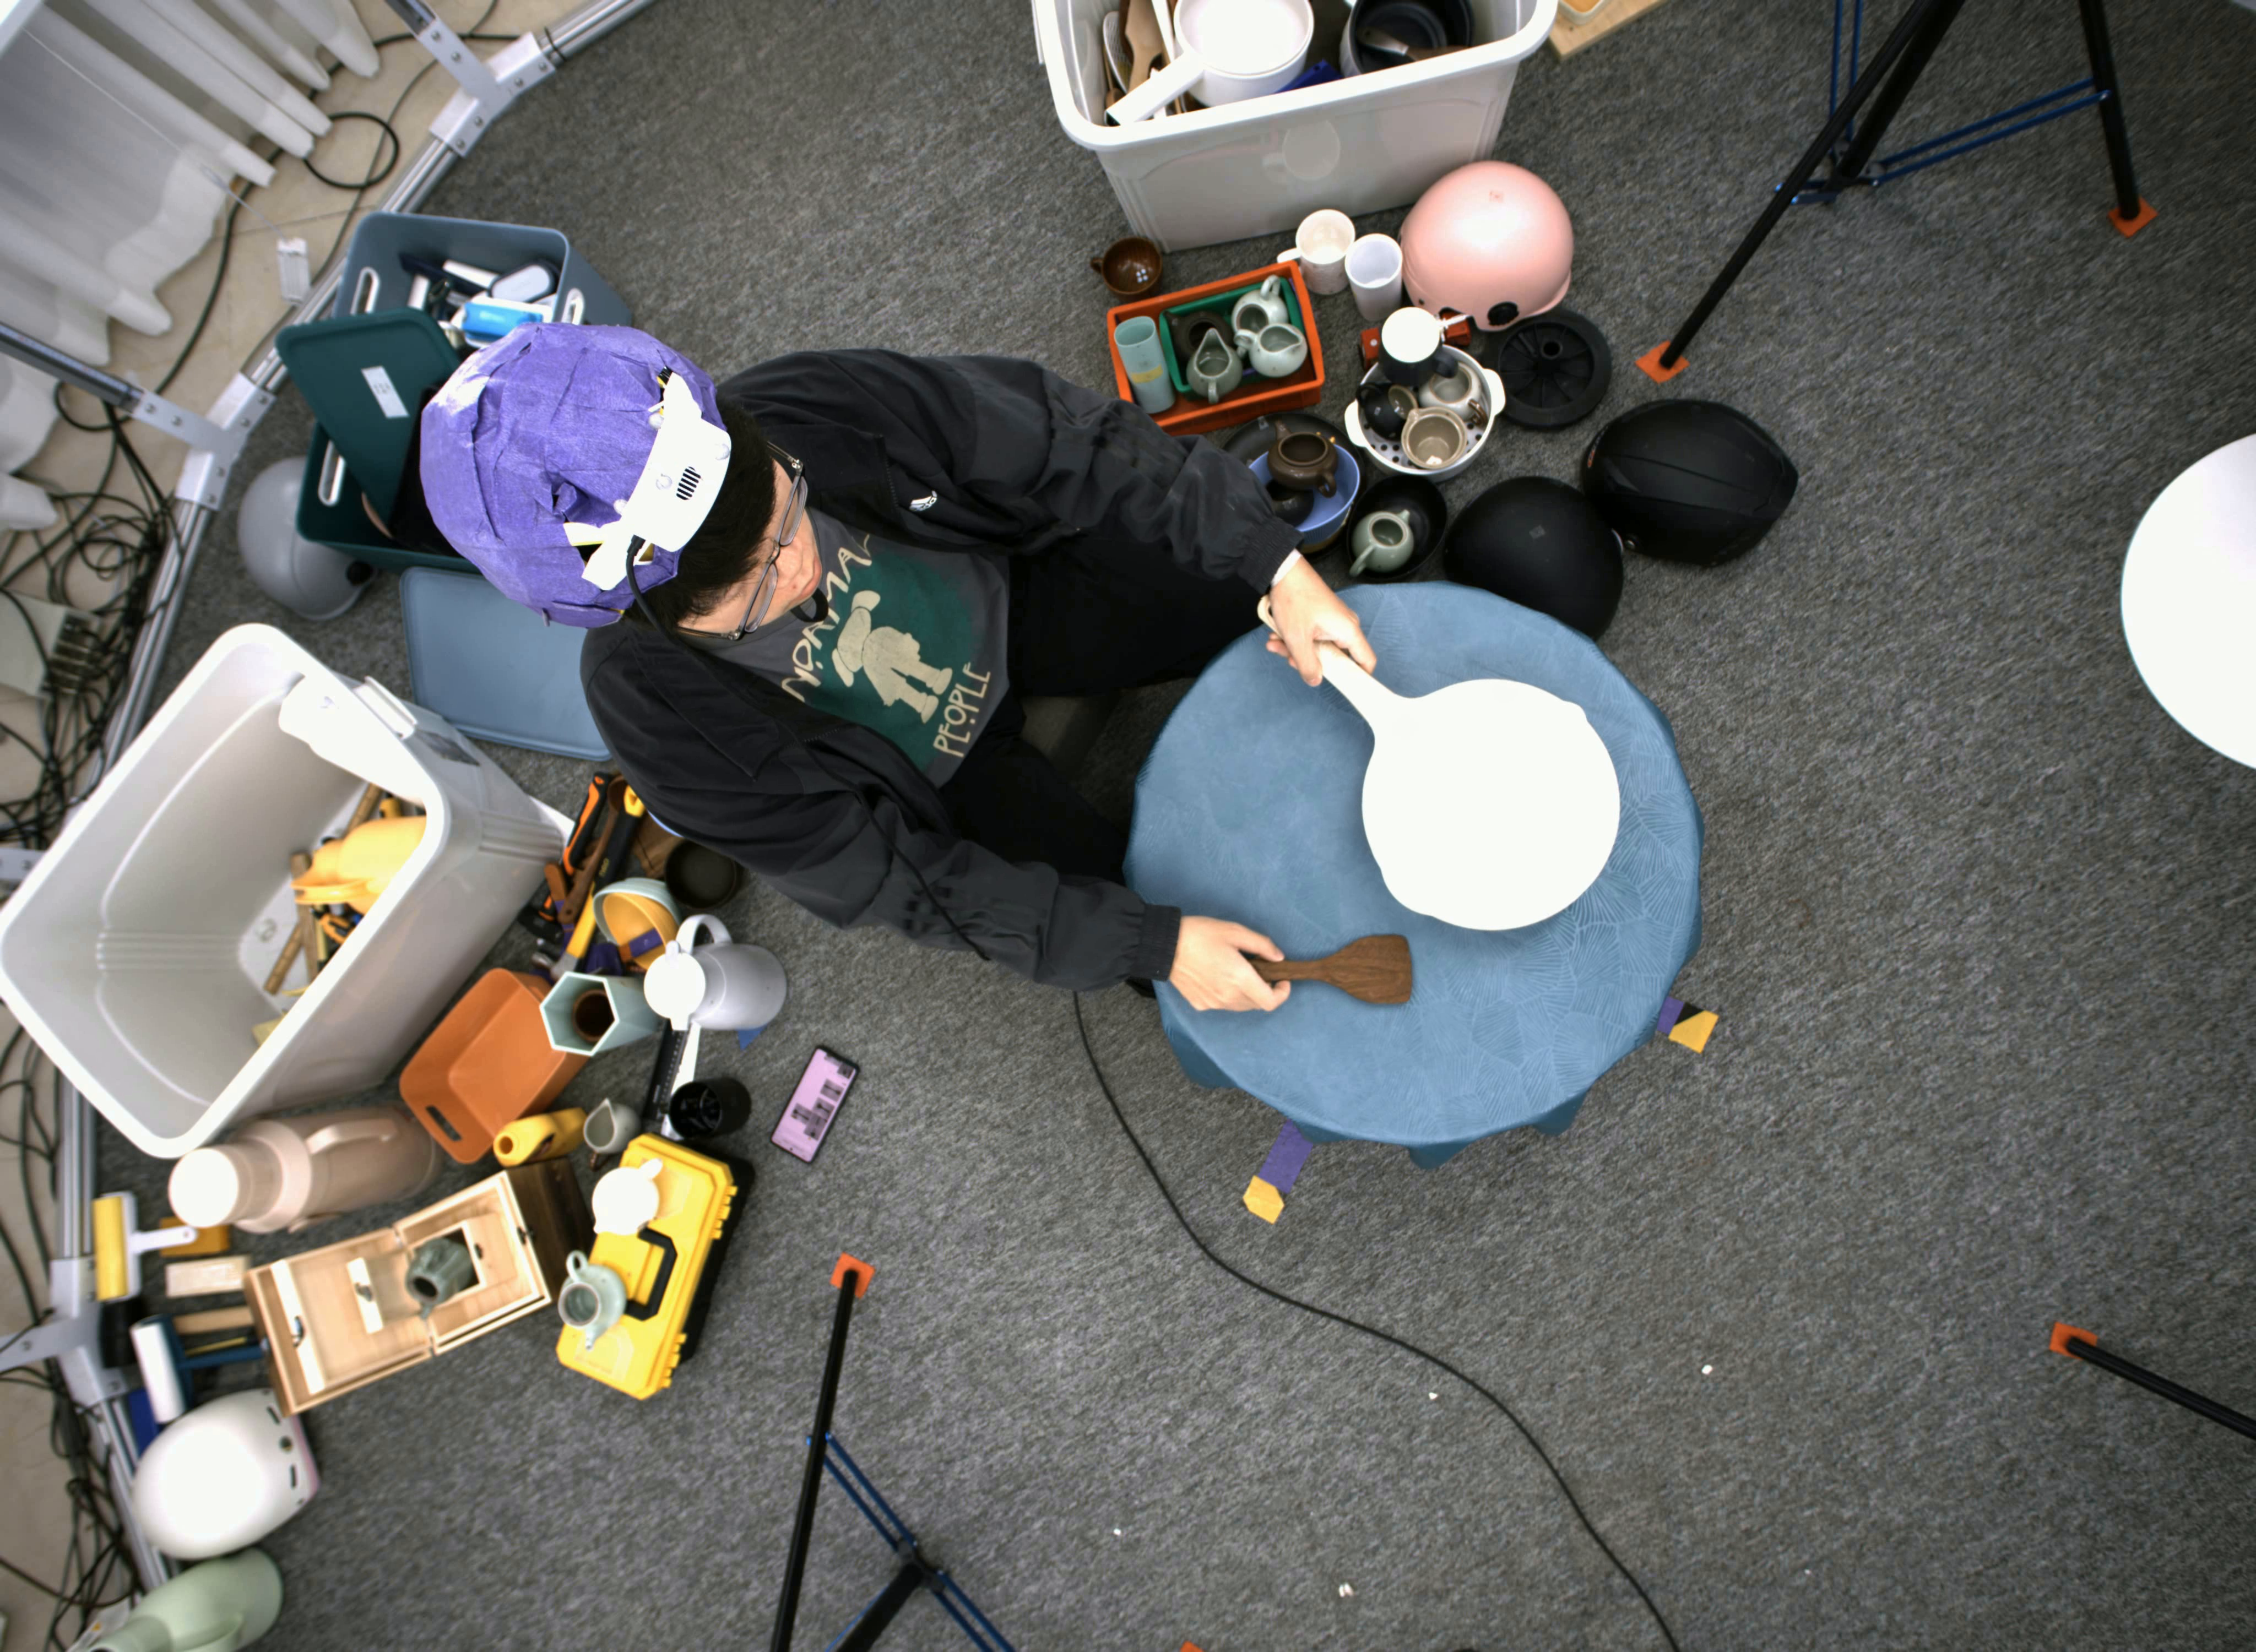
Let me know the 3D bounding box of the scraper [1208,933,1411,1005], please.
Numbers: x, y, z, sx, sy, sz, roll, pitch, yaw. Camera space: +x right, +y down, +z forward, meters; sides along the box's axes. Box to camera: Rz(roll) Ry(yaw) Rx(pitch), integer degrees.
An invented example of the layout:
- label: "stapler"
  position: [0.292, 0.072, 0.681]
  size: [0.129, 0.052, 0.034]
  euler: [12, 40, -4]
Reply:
- label: "scraper"
  position: [0.189, 0.150, 1.449]
  size: [0.211, 0.011, 0.075]
  euler: [-1, 76, 2]

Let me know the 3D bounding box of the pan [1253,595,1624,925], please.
- label: "pan"
  position: [0.302, -0.087, 1.411]
  size: [0.433, 0.102, 0.265]
  euler: [42, 96, 10]
